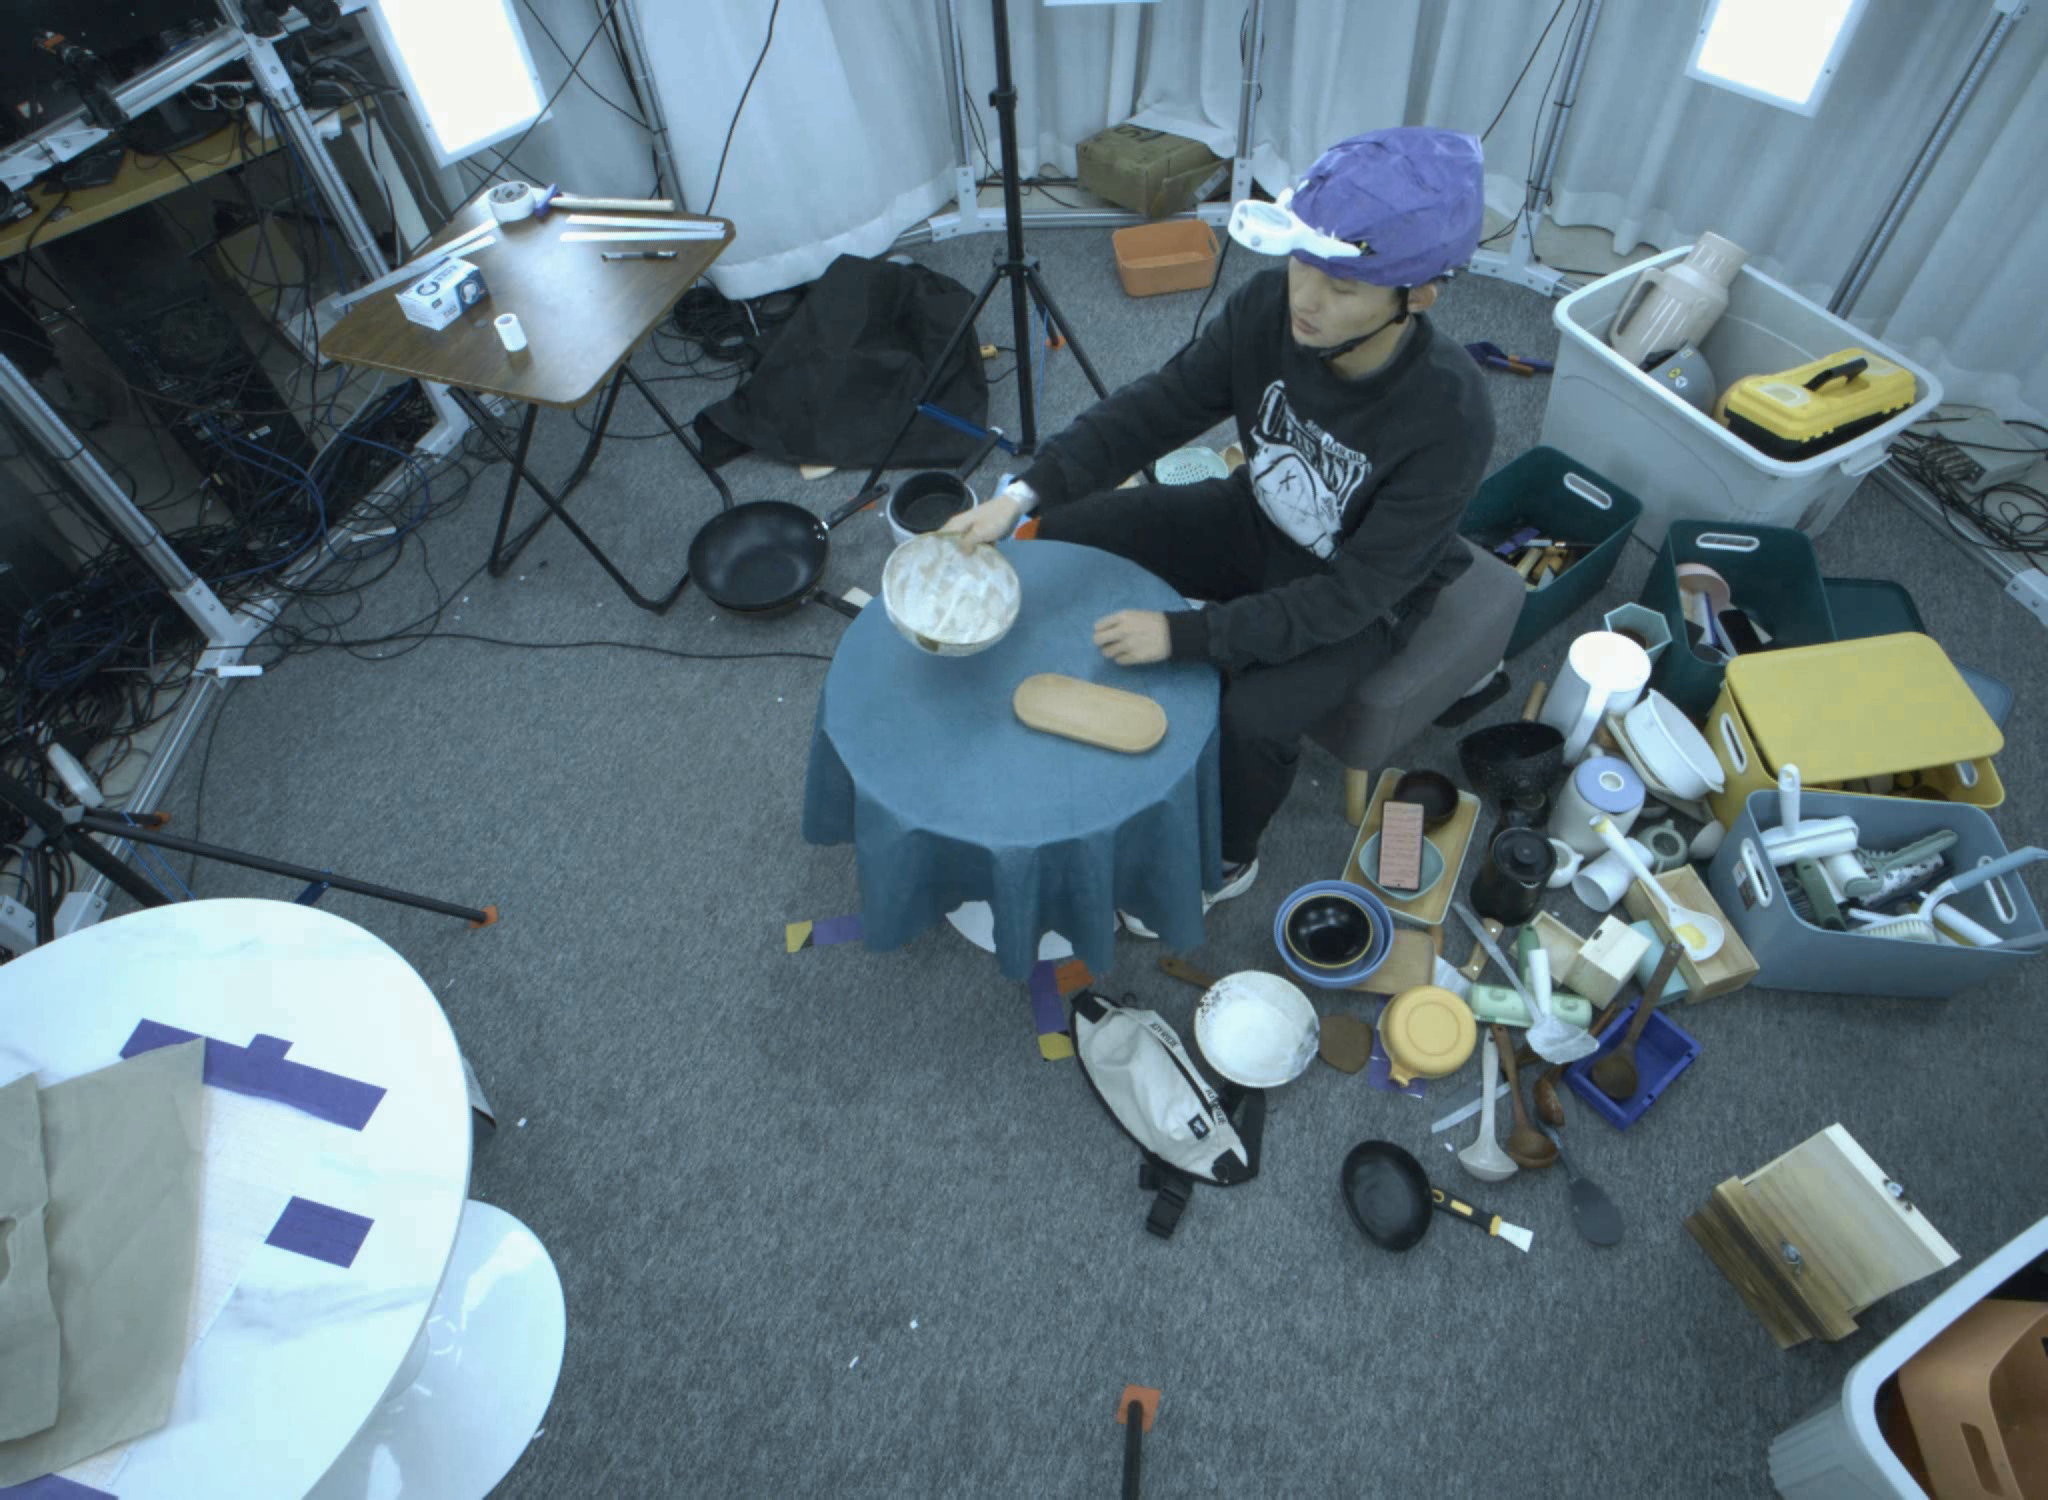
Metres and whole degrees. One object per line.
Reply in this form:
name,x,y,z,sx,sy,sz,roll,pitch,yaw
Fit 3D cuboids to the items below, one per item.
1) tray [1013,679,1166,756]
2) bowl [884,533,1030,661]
tray,0.096,-0.048,1.820,0.229,0.020,0.101,14,54,13
bowl,-0.105,-0.206,1.794,0.217,0.094,0.212,8,60,-12
